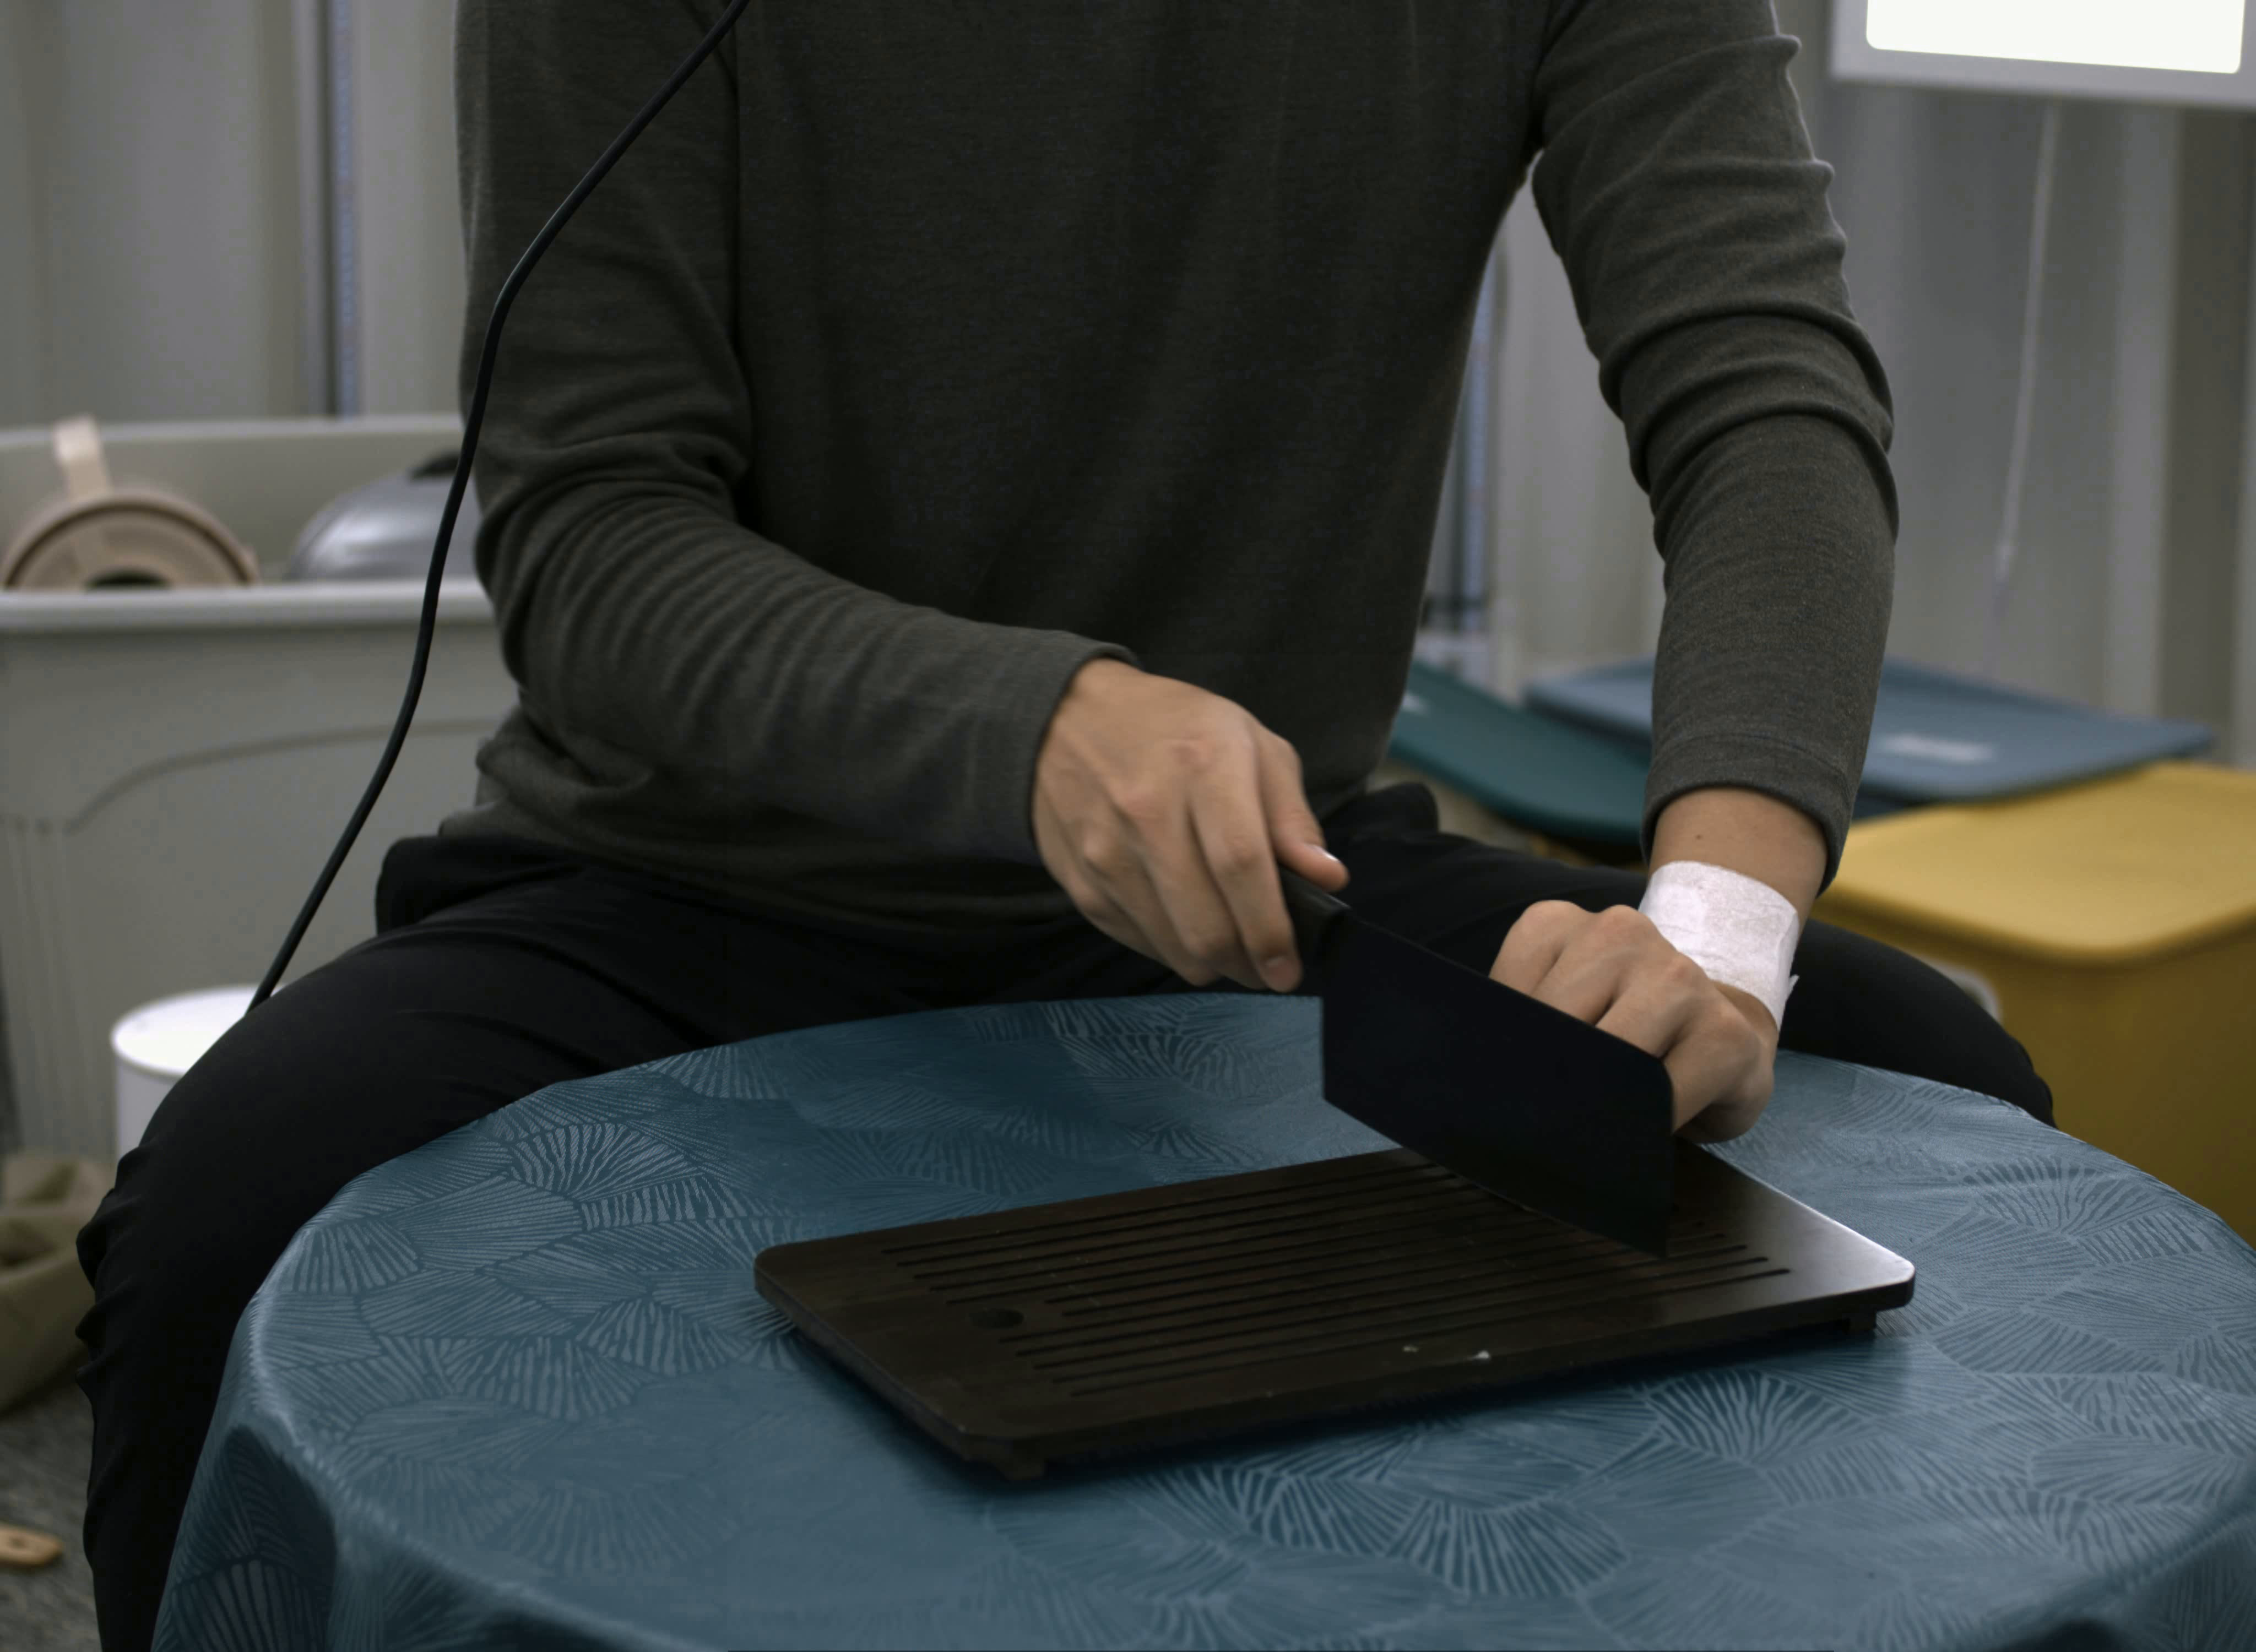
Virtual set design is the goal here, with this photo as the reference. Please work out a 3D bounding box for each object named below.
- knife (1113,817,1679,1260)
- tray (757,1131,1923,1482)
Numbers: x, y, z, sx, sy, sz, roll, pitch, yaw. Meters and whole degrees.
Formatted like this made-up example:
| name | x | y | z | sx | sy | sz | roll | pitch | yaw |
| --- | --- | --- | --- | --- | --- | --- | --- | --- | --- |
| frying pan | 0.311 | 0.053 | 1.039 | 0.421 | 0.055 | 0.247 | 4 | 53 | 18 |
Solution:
| name | x | y | z | sx | sy | sz | roll | pitch | yaw |
| --- | --- | --- | --- | --- | --- | --- | --- | --- | --- |
| knife | 0.078 | 0.057 | 1.608 | 0.021 | 0.081 | 0.298 | -9 | 23 | -30 |
| tray | 0.061 | 0.134 | 1.515 | 0.307 | 0.019 | 0.168 | -6 | 16 | -26 |
